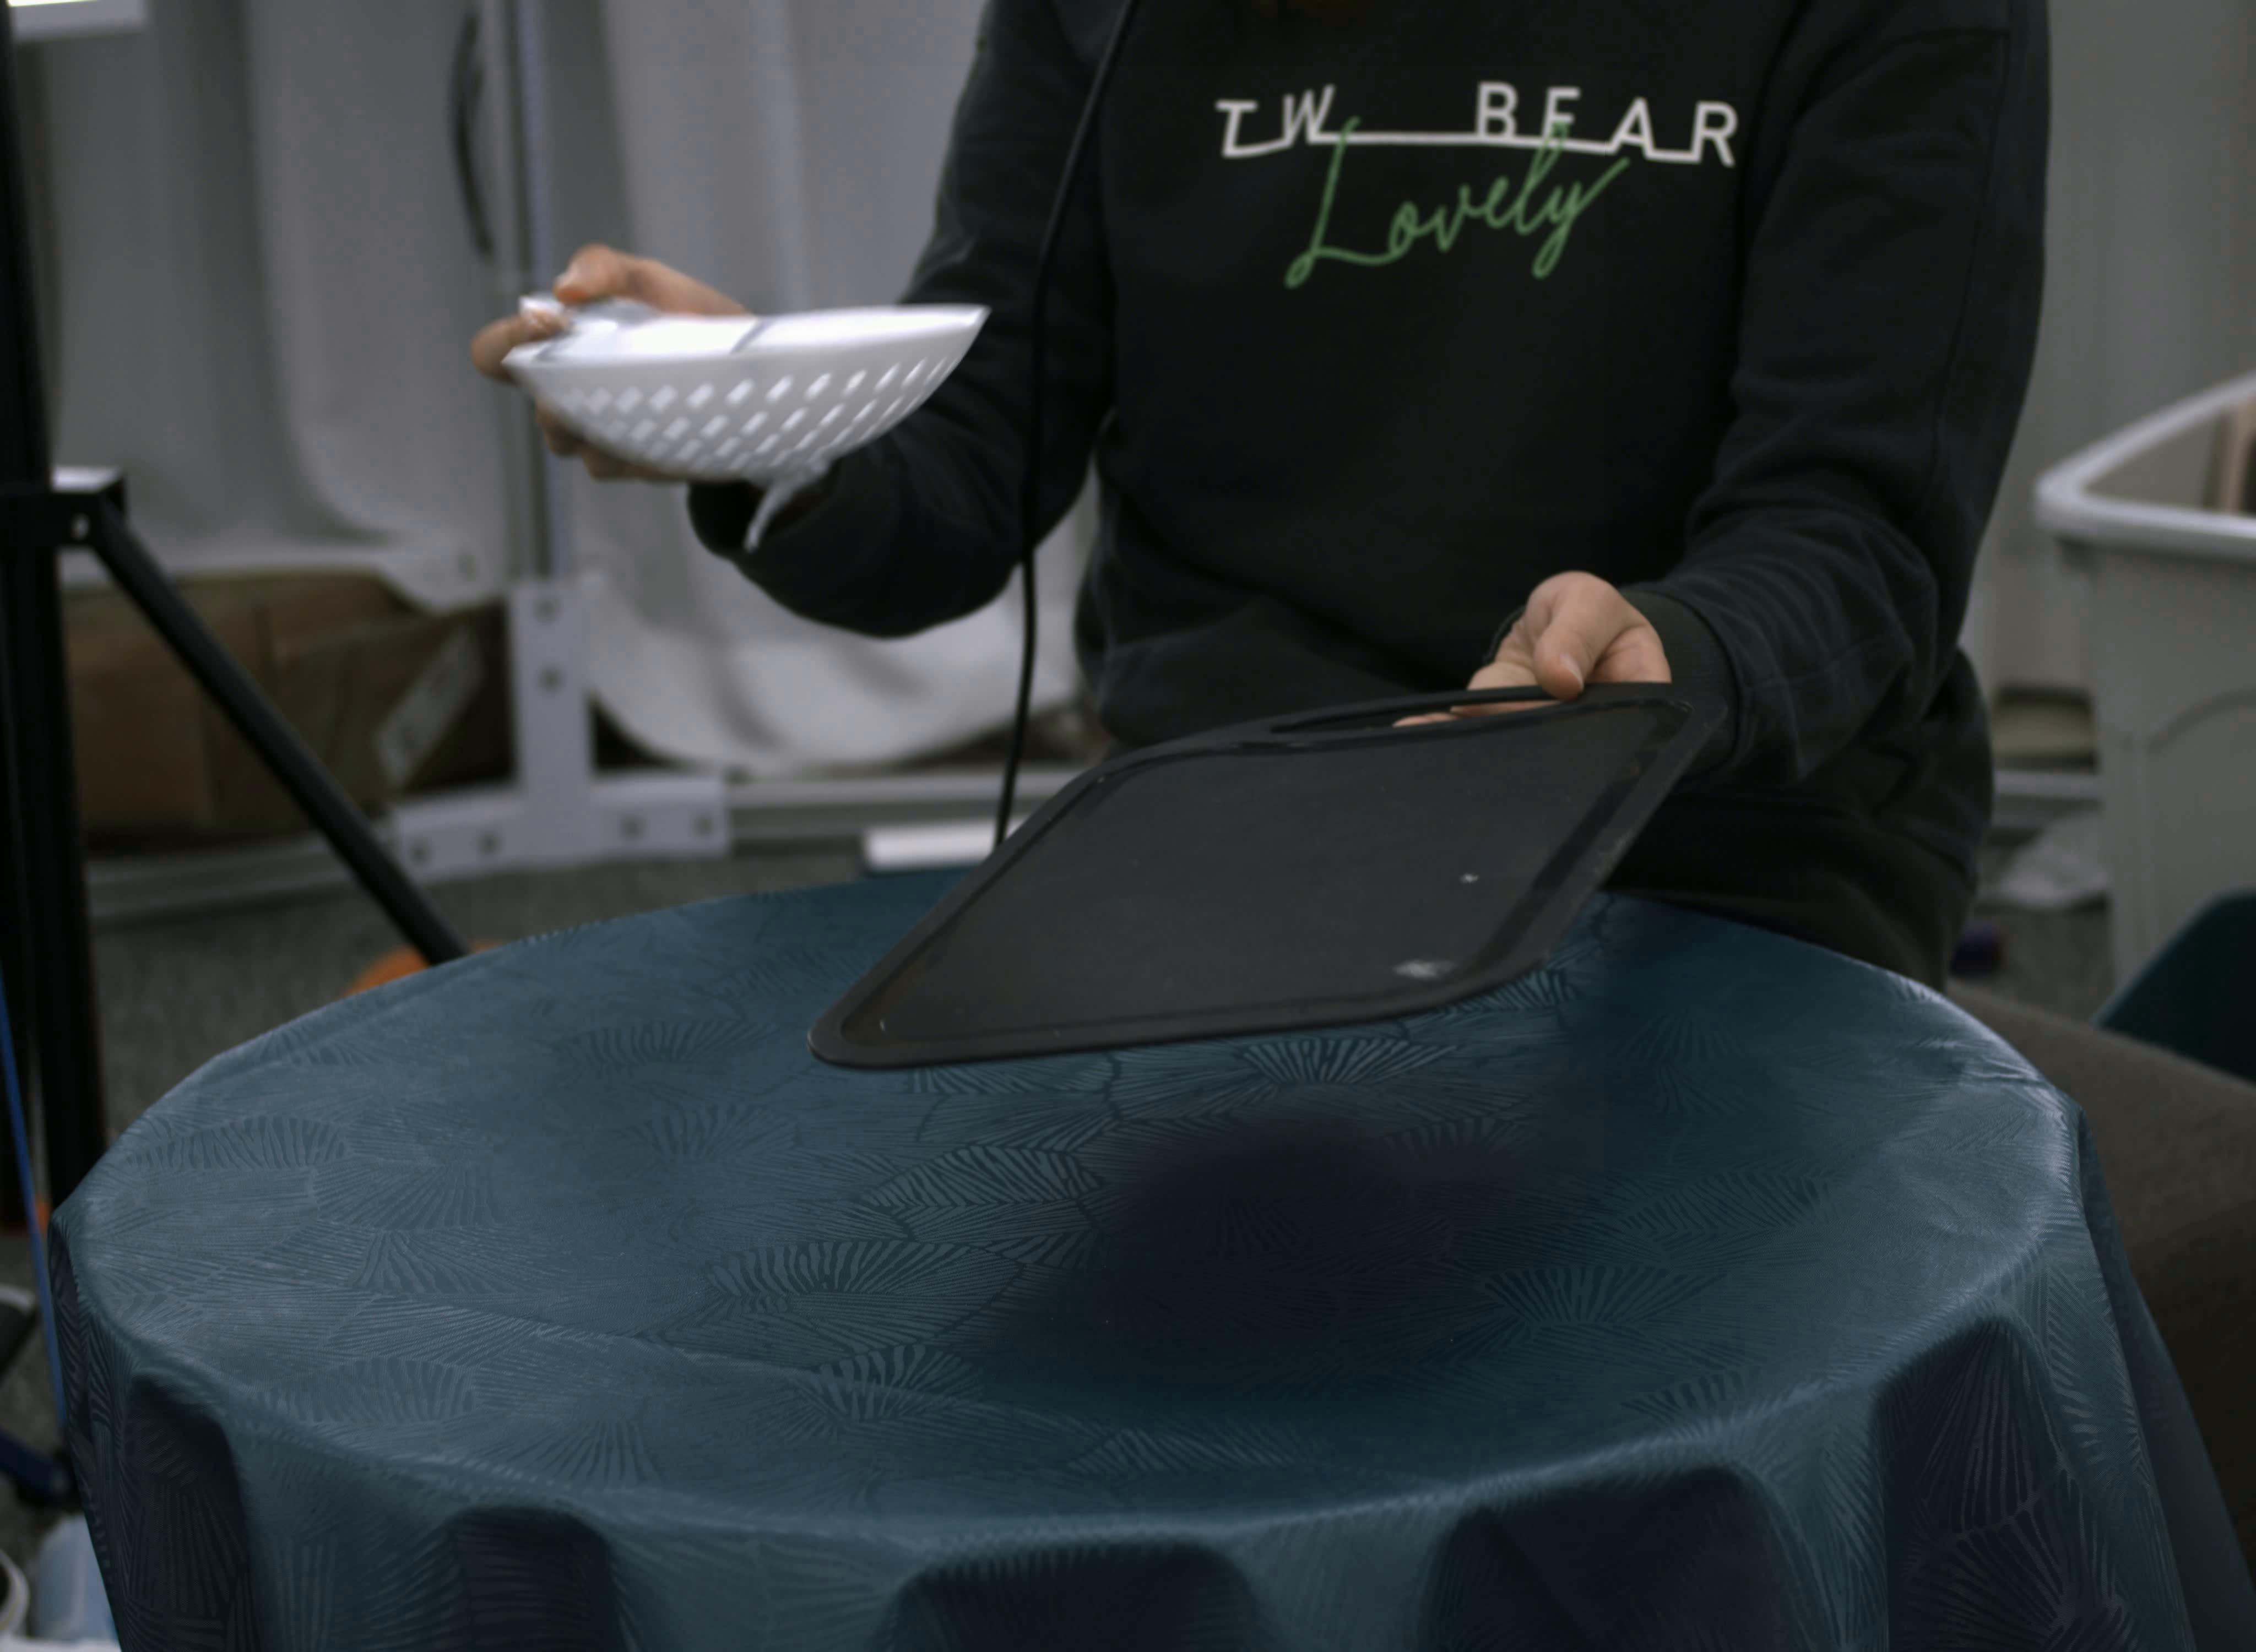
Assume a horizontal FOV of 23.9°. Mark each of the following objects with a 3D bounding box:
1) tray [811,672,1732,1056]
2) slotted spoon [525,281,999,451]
[{"bbox_3d":[0.049,0.005,1.507,0.213,0.010,0.322,-6,15,22],"label":"tray"},{"bbox_3d":[-0.137,-0.152,1.620,0.134,0.046,0.355,-6,13,-17],"label":"slotted spoon"}]
